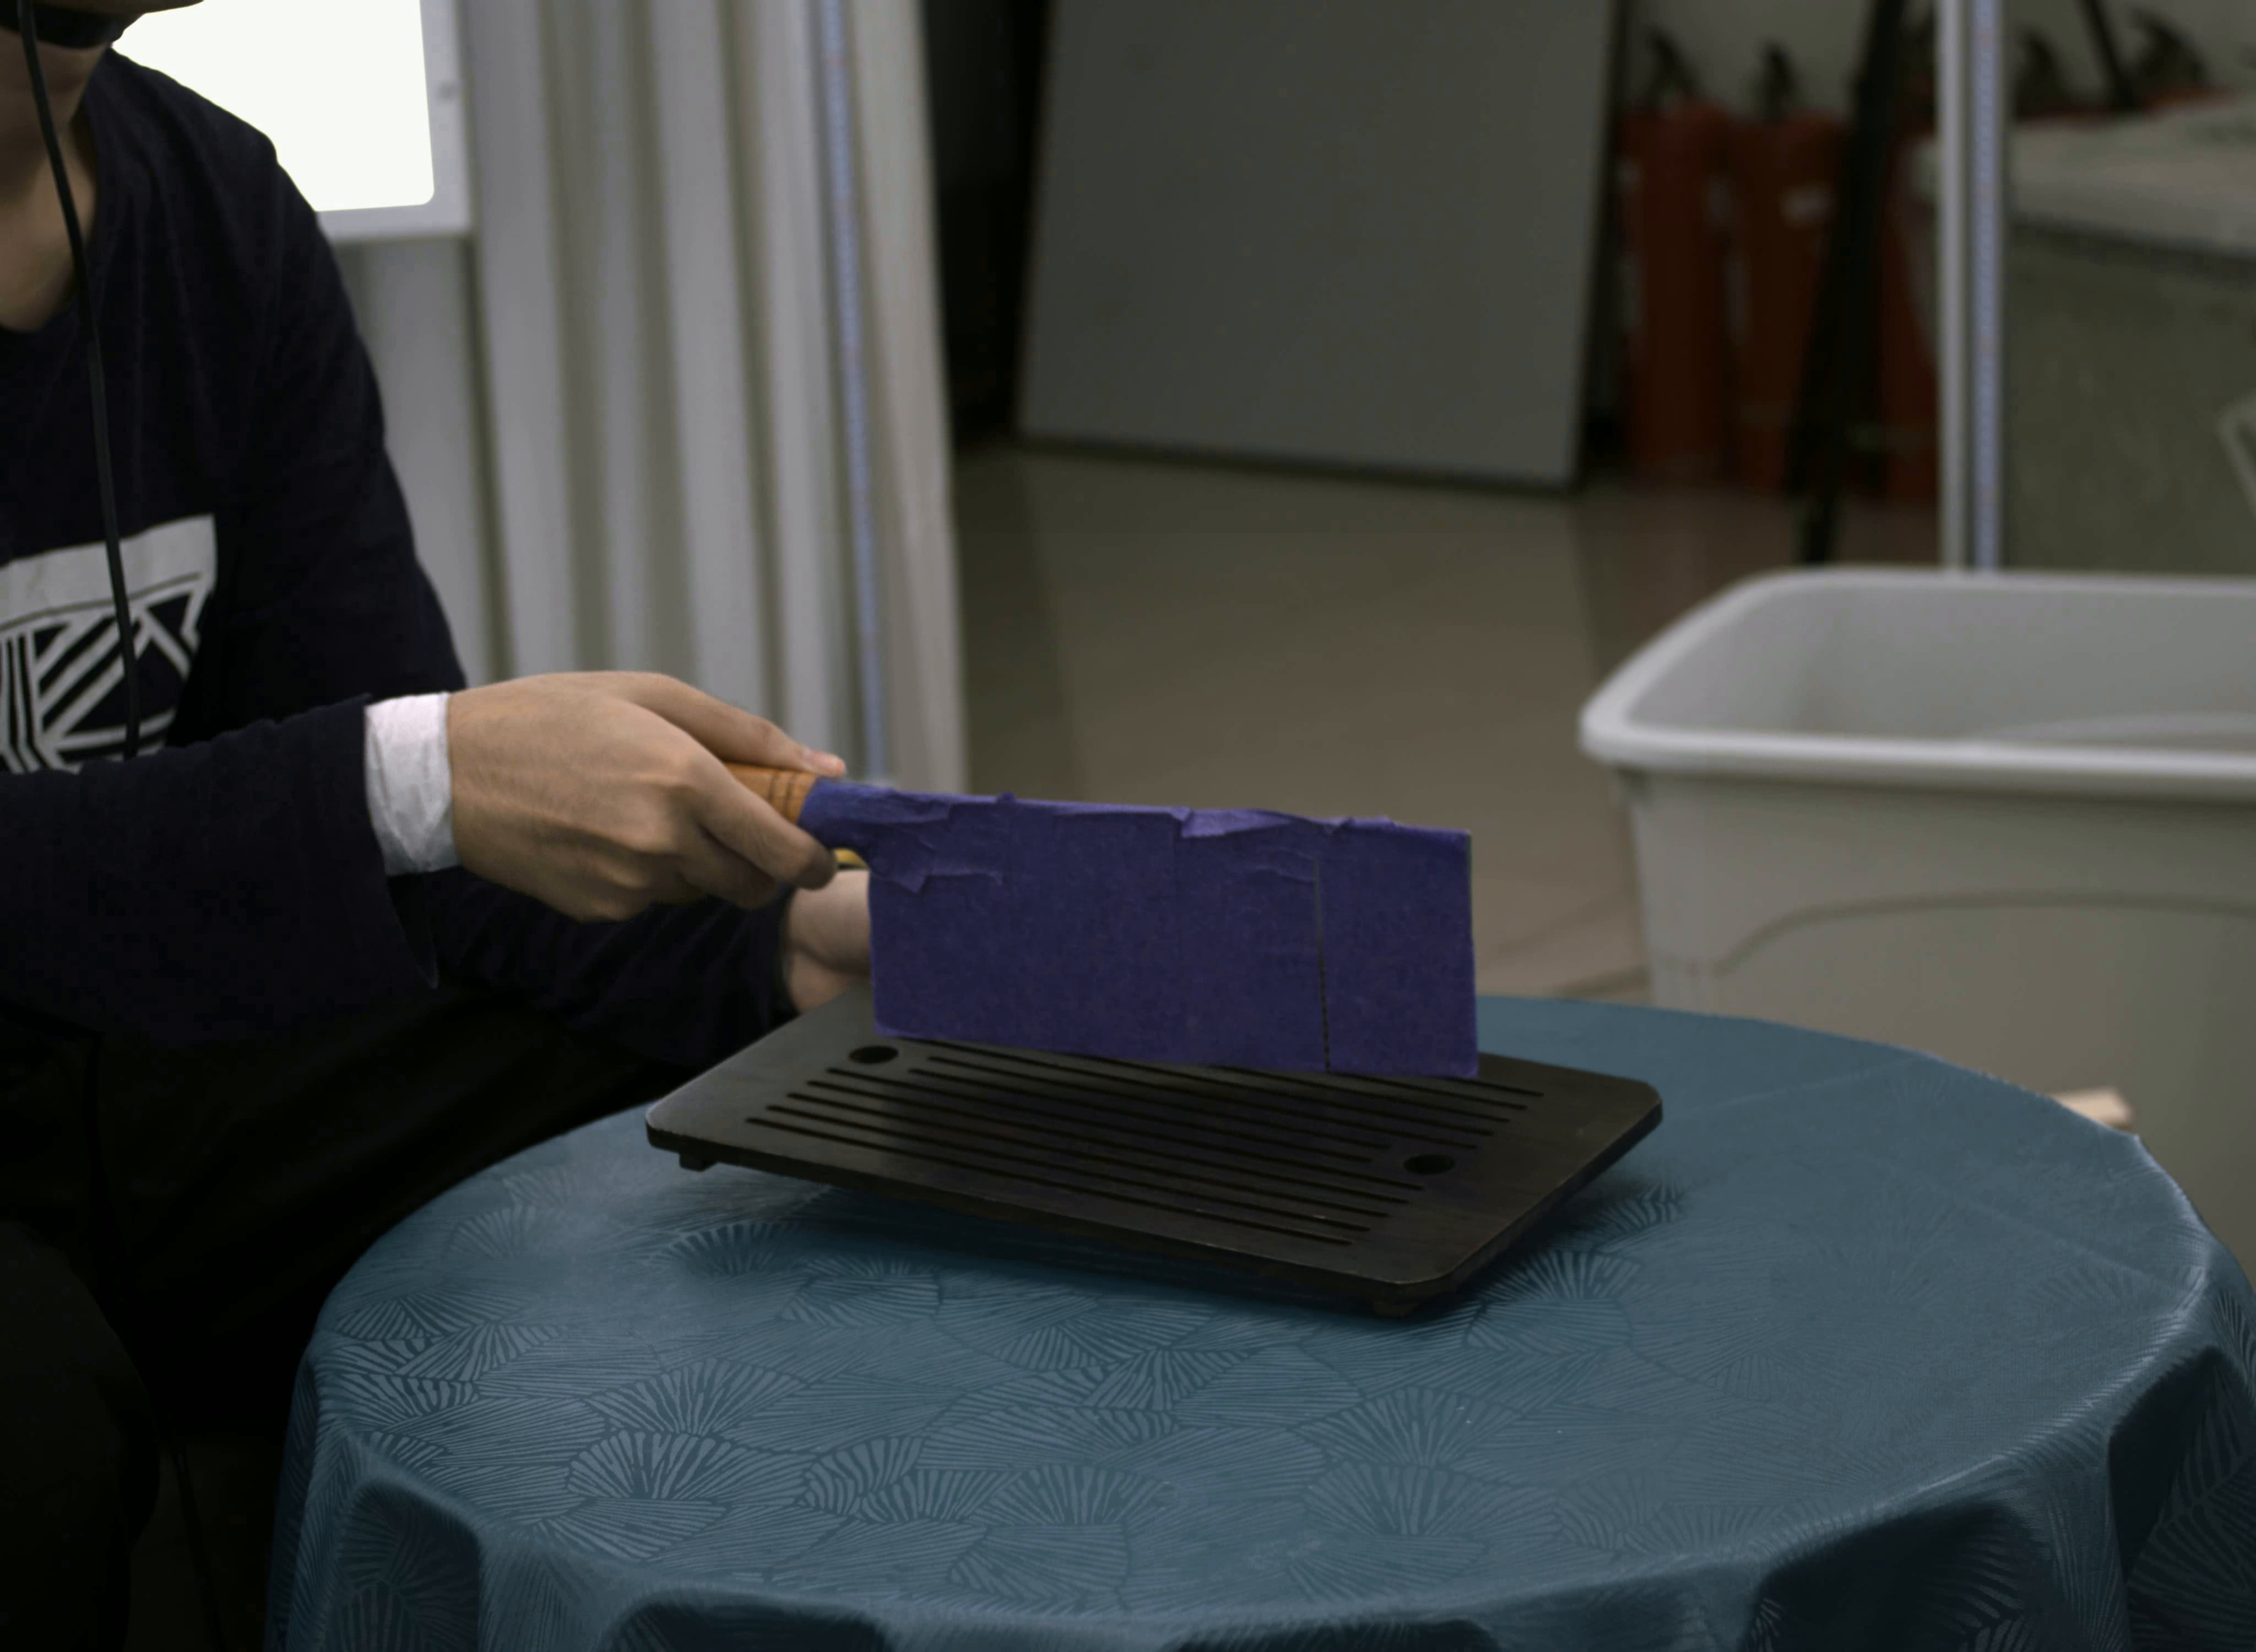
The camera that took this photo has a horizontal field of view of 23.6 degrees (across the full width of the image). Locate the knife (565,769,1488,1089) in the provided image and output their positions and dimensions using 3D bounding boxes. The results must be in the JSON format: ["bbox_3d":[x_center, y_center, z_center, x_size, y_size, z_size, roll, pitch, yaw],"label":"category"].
[{"bbox_3d":[-0.035,0.033,1.775,0.314,0.105,0.032,3,19,19],"label":"knife"}]

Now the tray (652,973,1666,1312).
[{"bbox_3d":[0.009,0.099,1.766,0.307,0.019,0.167,8,23,33],"label":"tray"}]
